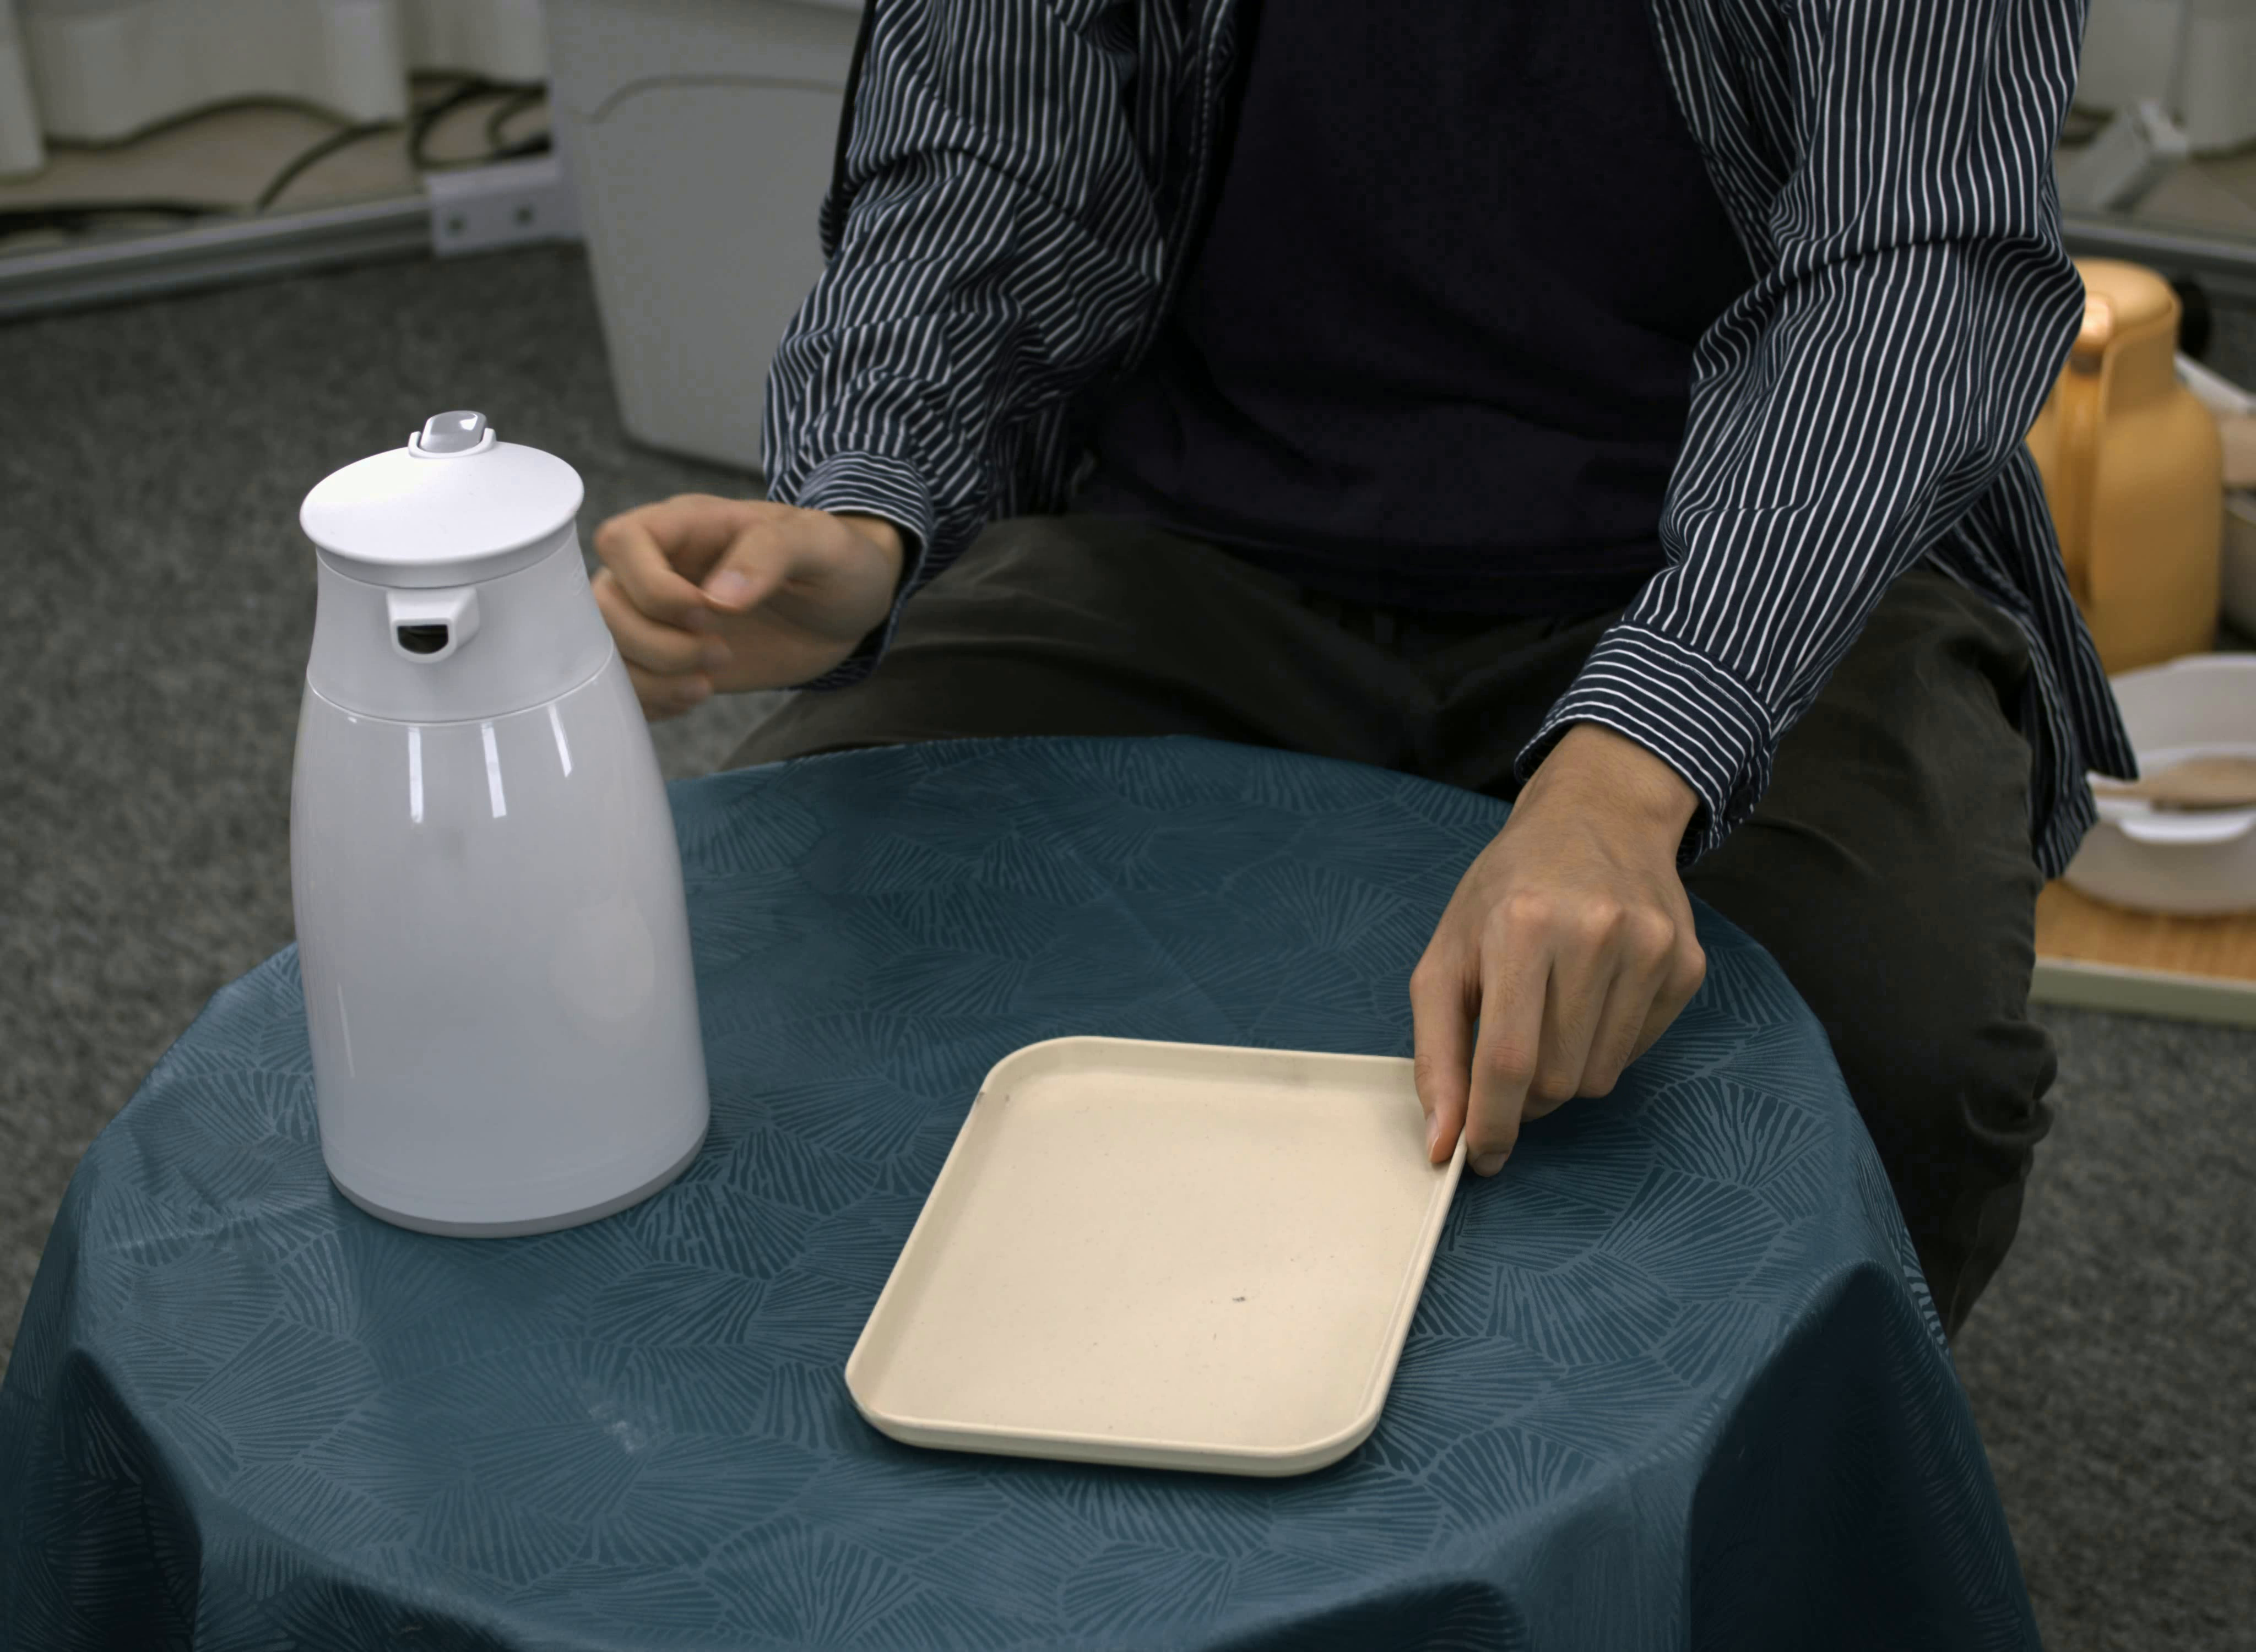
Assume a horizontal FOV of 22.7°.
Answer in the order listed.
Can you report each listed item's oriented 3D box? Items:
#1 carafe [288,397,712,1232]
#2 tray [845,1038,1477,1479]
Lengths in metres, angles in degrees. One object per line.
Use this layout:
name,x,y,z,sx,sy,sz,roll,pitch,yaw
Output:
carafe,-0.216,-0.014,1.869,0.132,0.246,0.170,-5,25,-2
tray,0.014,0.138,1.805,0.170,0.017,0.244,4,28,12
